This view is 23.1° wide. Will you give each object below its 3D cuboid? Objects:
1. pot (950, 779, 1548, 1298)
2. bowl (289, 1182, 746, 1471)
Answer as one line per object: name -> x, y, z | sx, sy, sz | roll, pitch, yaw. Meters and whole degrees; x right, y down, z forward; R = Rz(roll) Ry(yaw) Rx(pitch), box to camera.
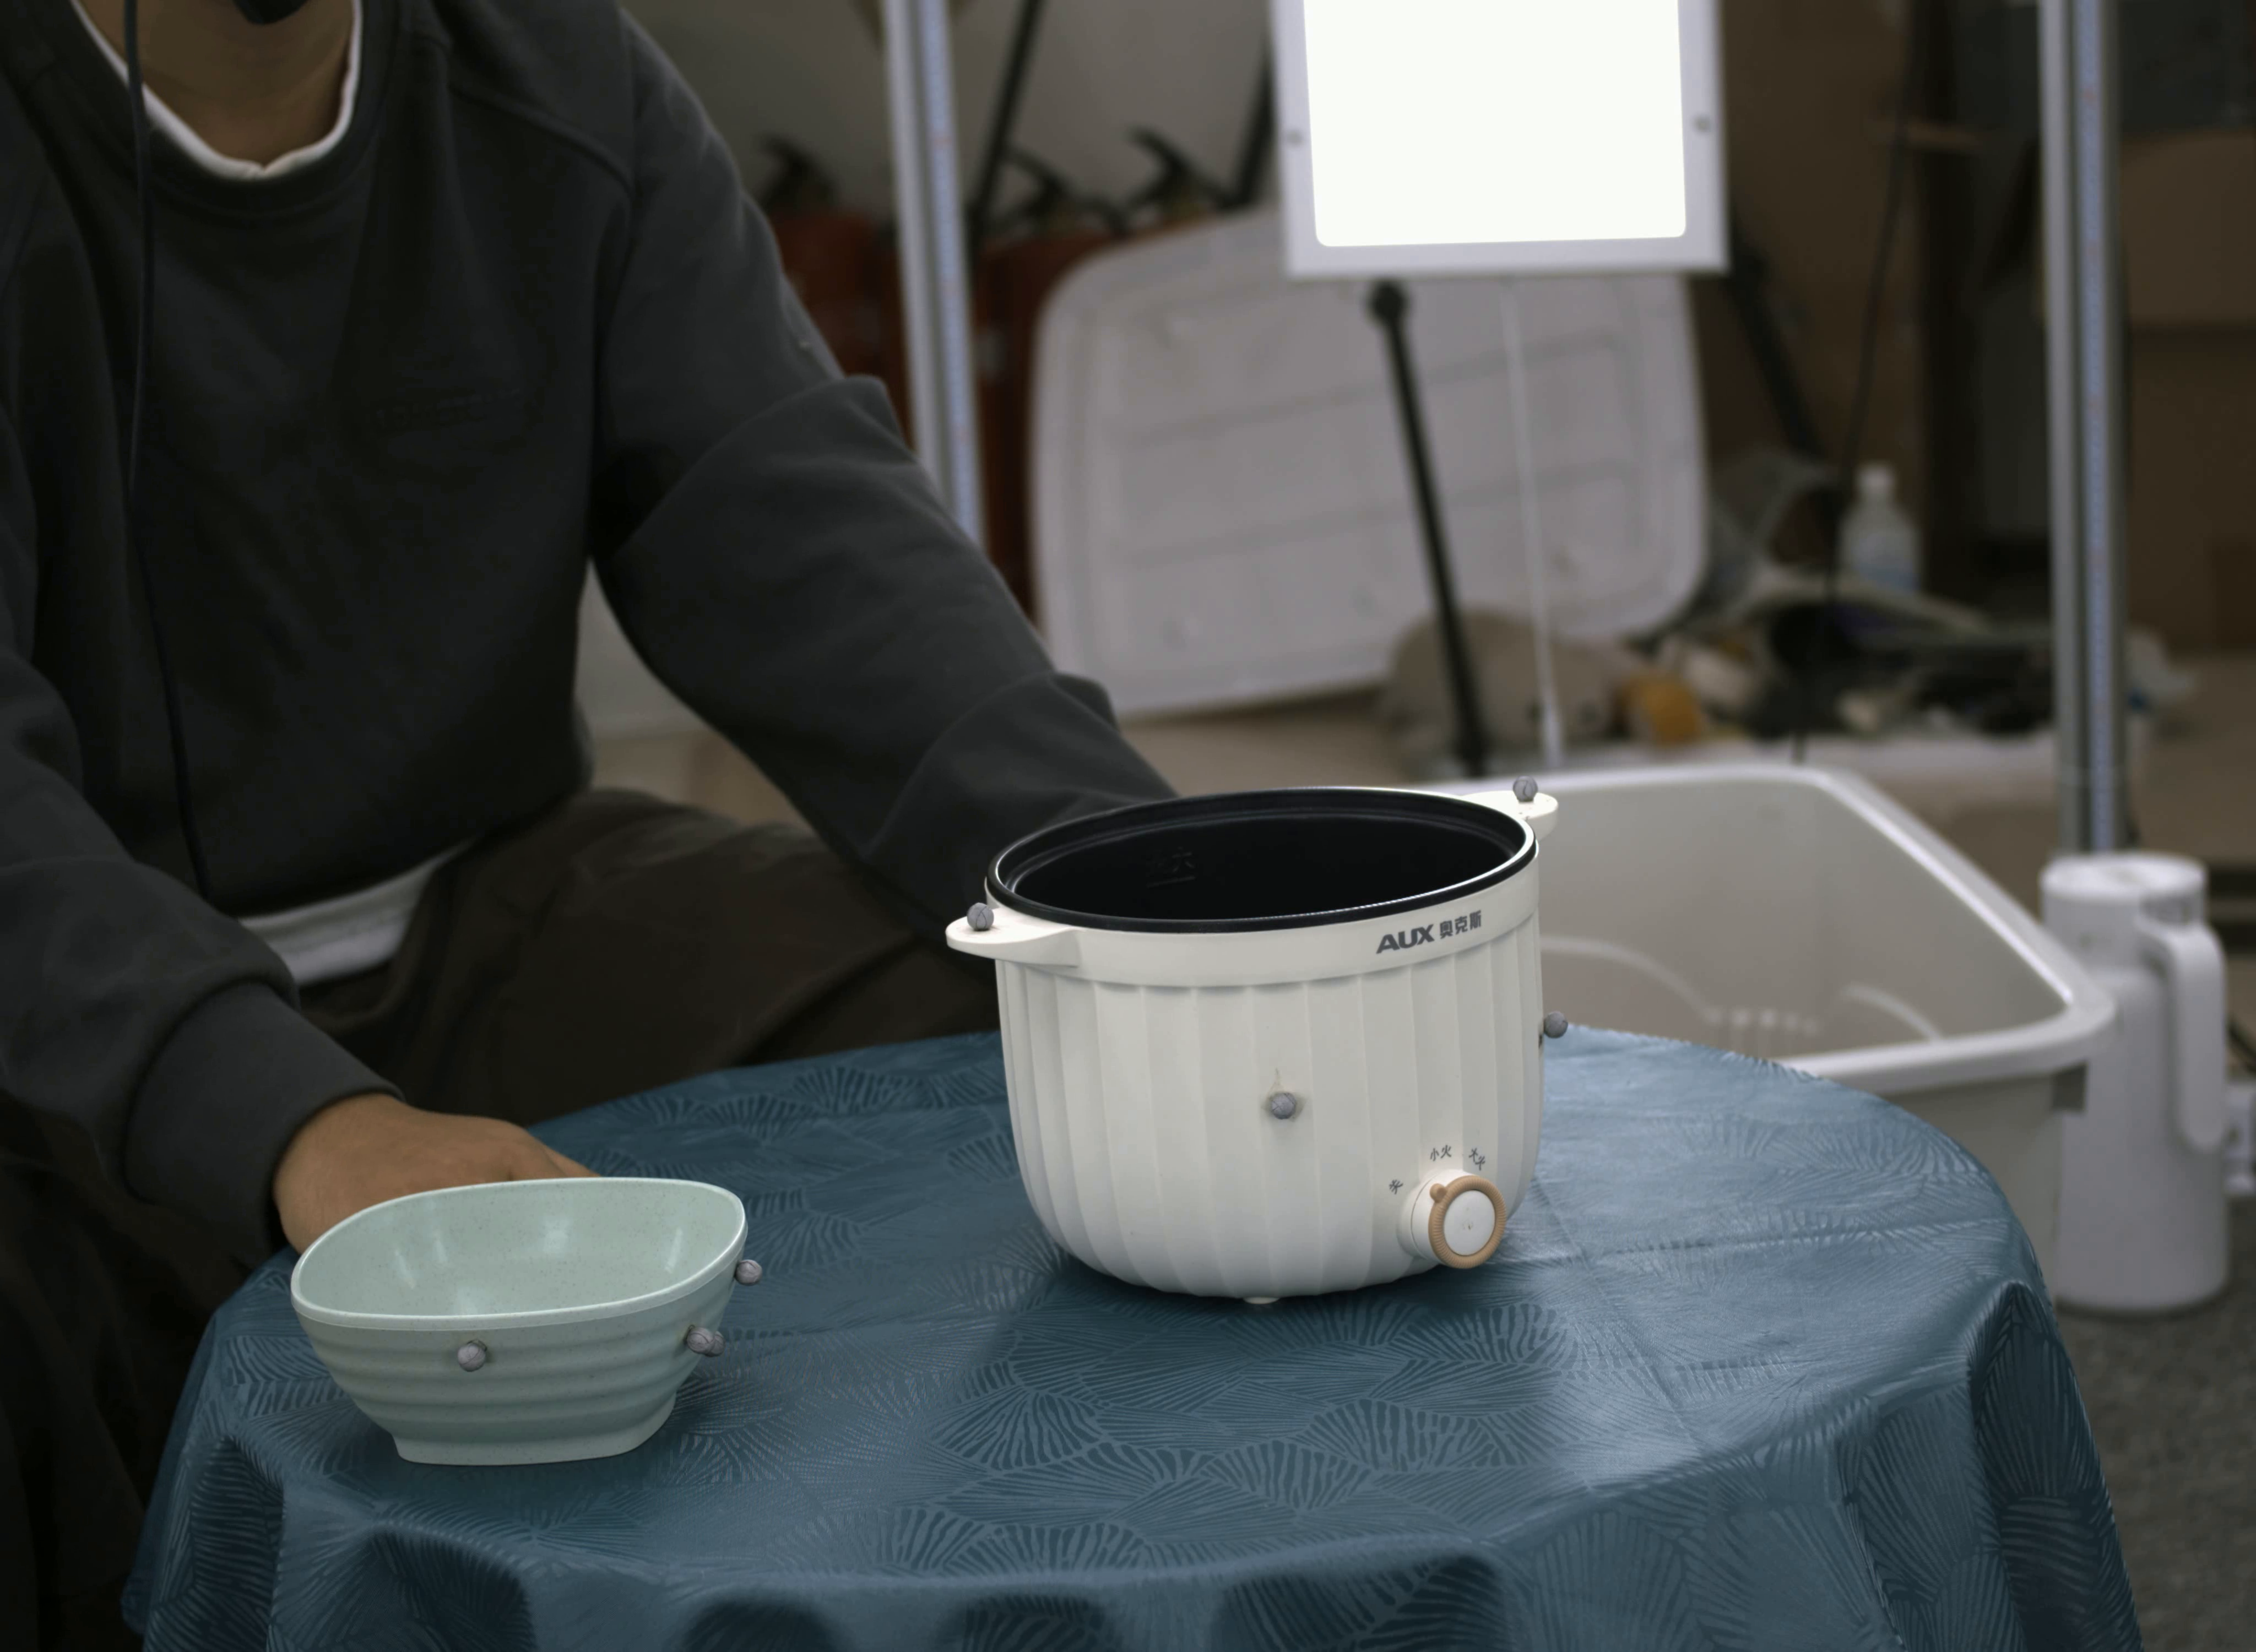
pot -> 0.053, 0.071, 1.809 | 0.234, 0.143, 0.194 | -16, 14, -33
bowl -> -0.187, 0.159, 1.715 | 0.151, 0.059, 0.151 | -3, 14, -1
